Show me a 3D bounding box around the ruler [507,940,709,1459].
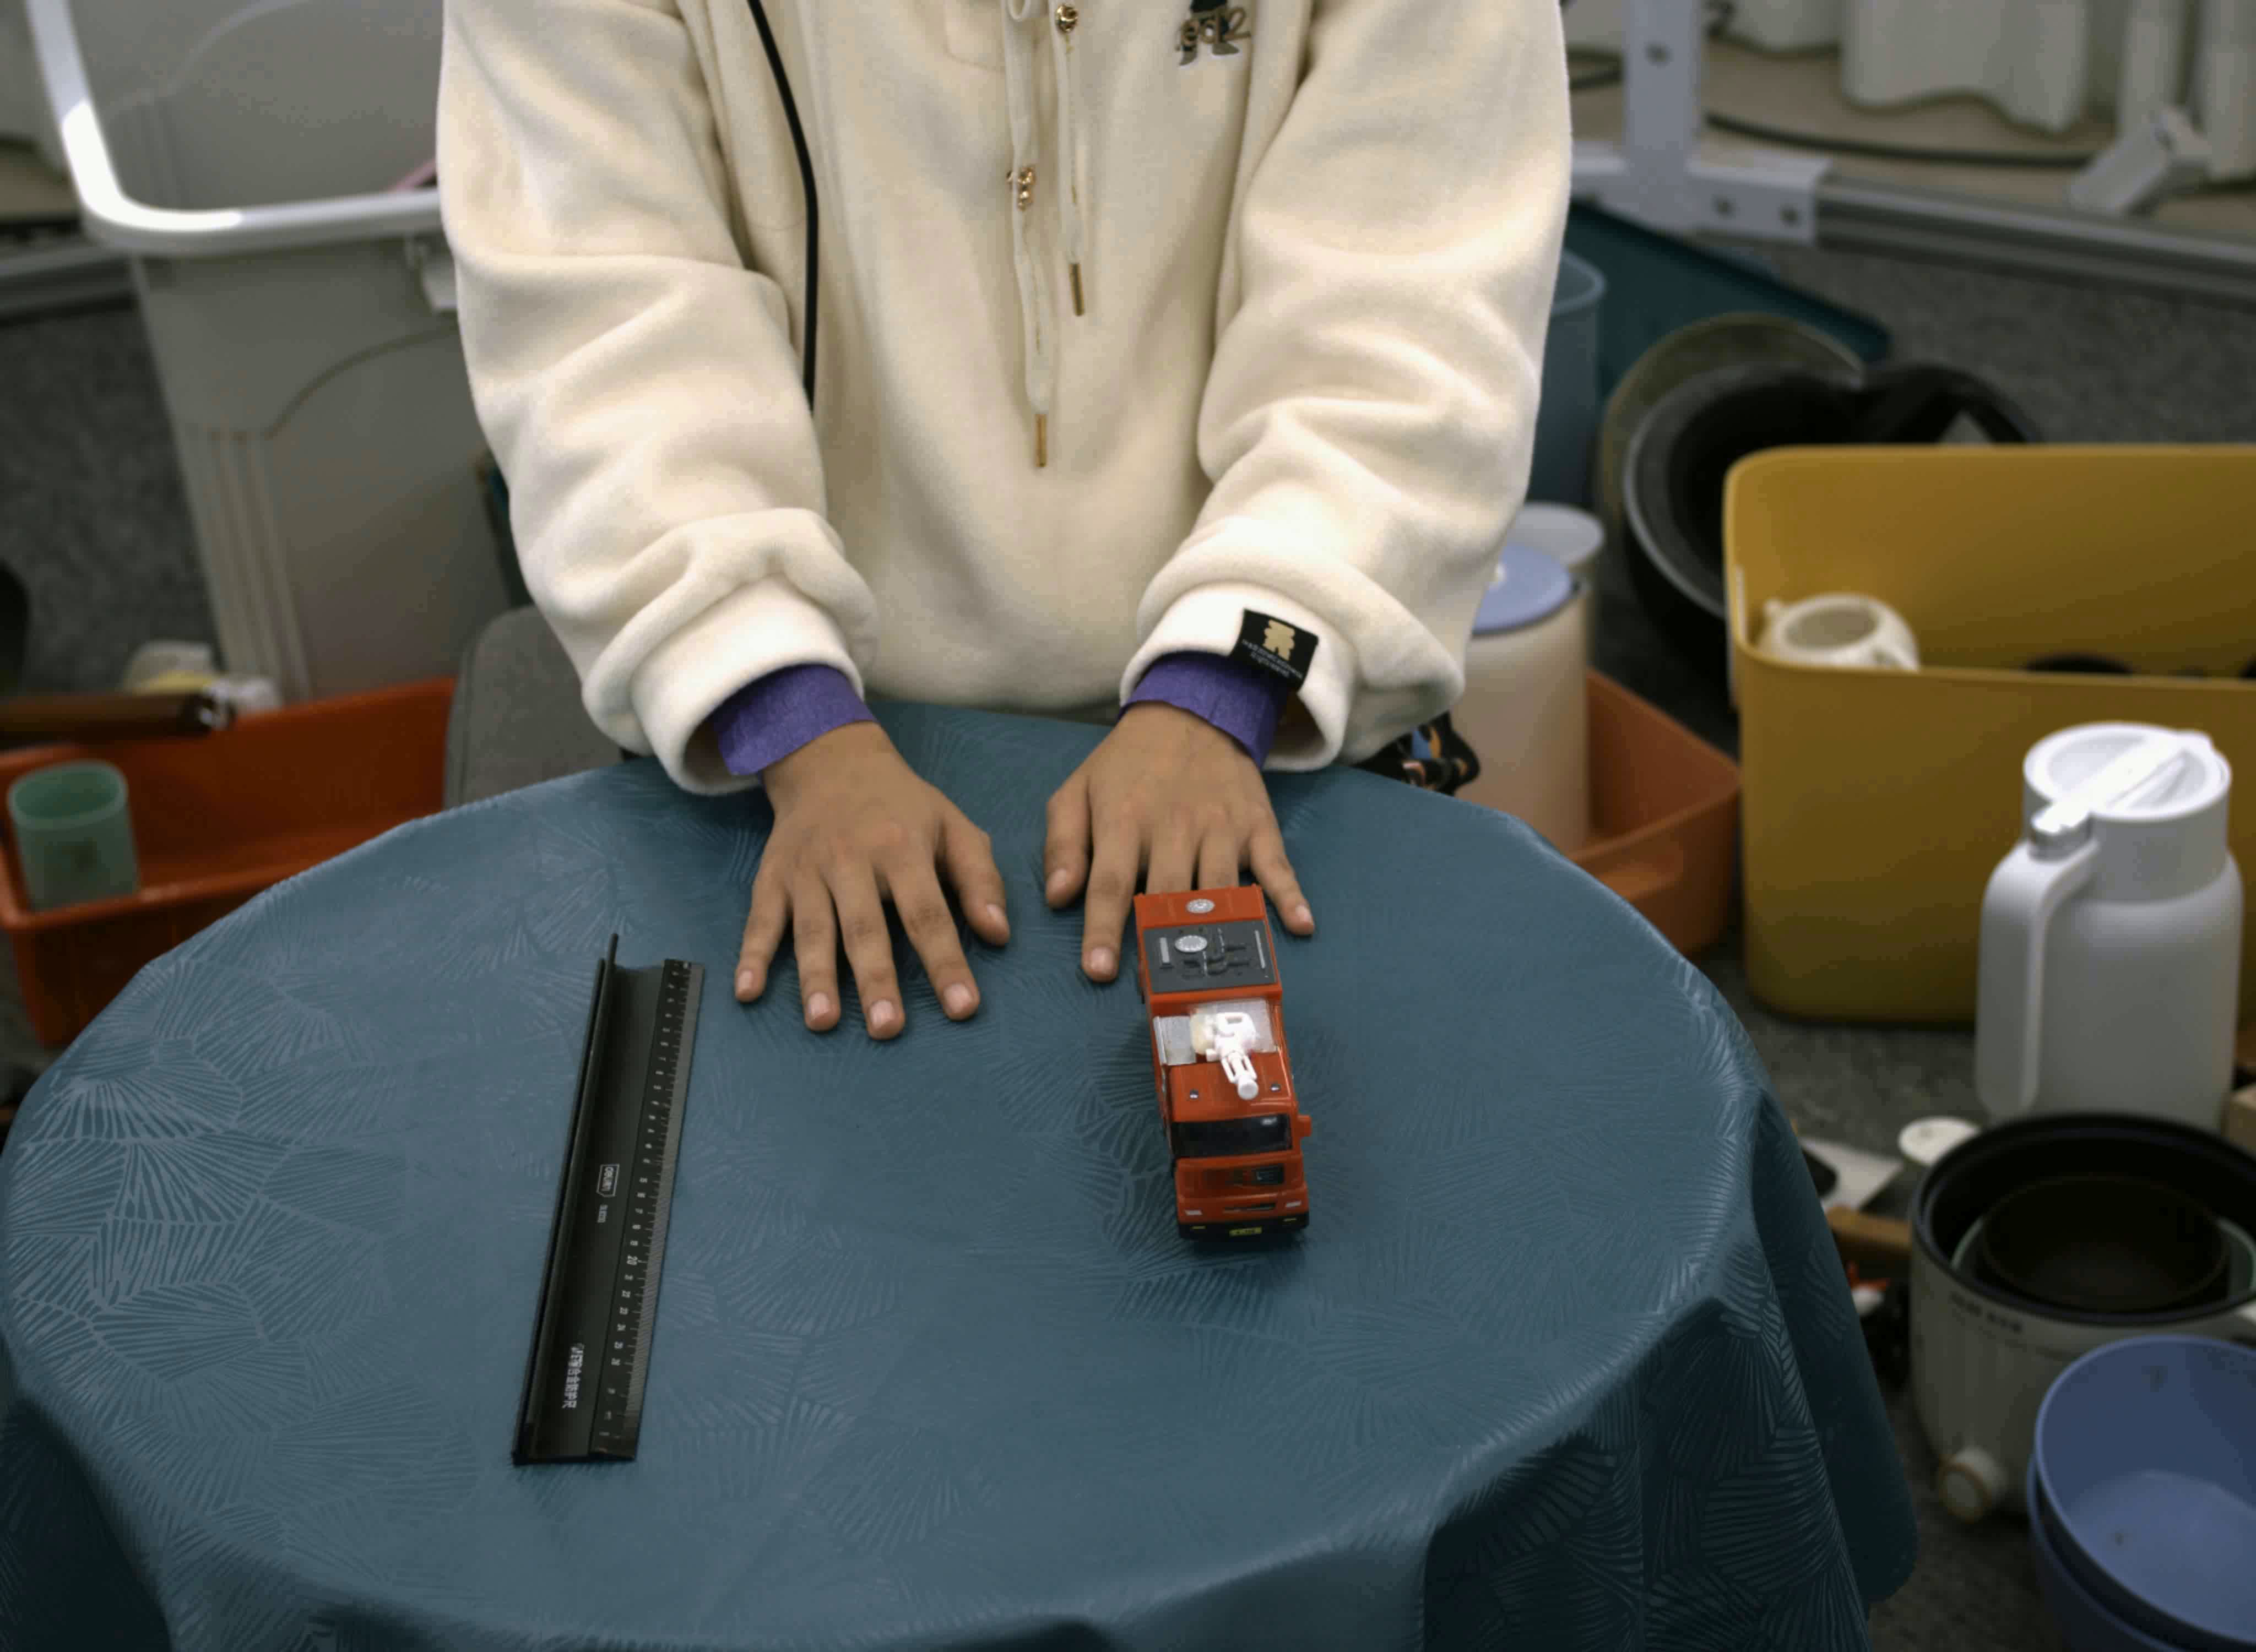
[{"bbox_3d":[-0.171,0.118,1.867,0.039,0.017,0.317,2,27,0],"label":"ruler"}]

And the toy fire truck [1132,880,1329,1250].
[{"bbox_3d":[0.033,0.078,1.880,0.054,0.069,0.170,-6,25,-1],"label":"toy fire truck"}]
